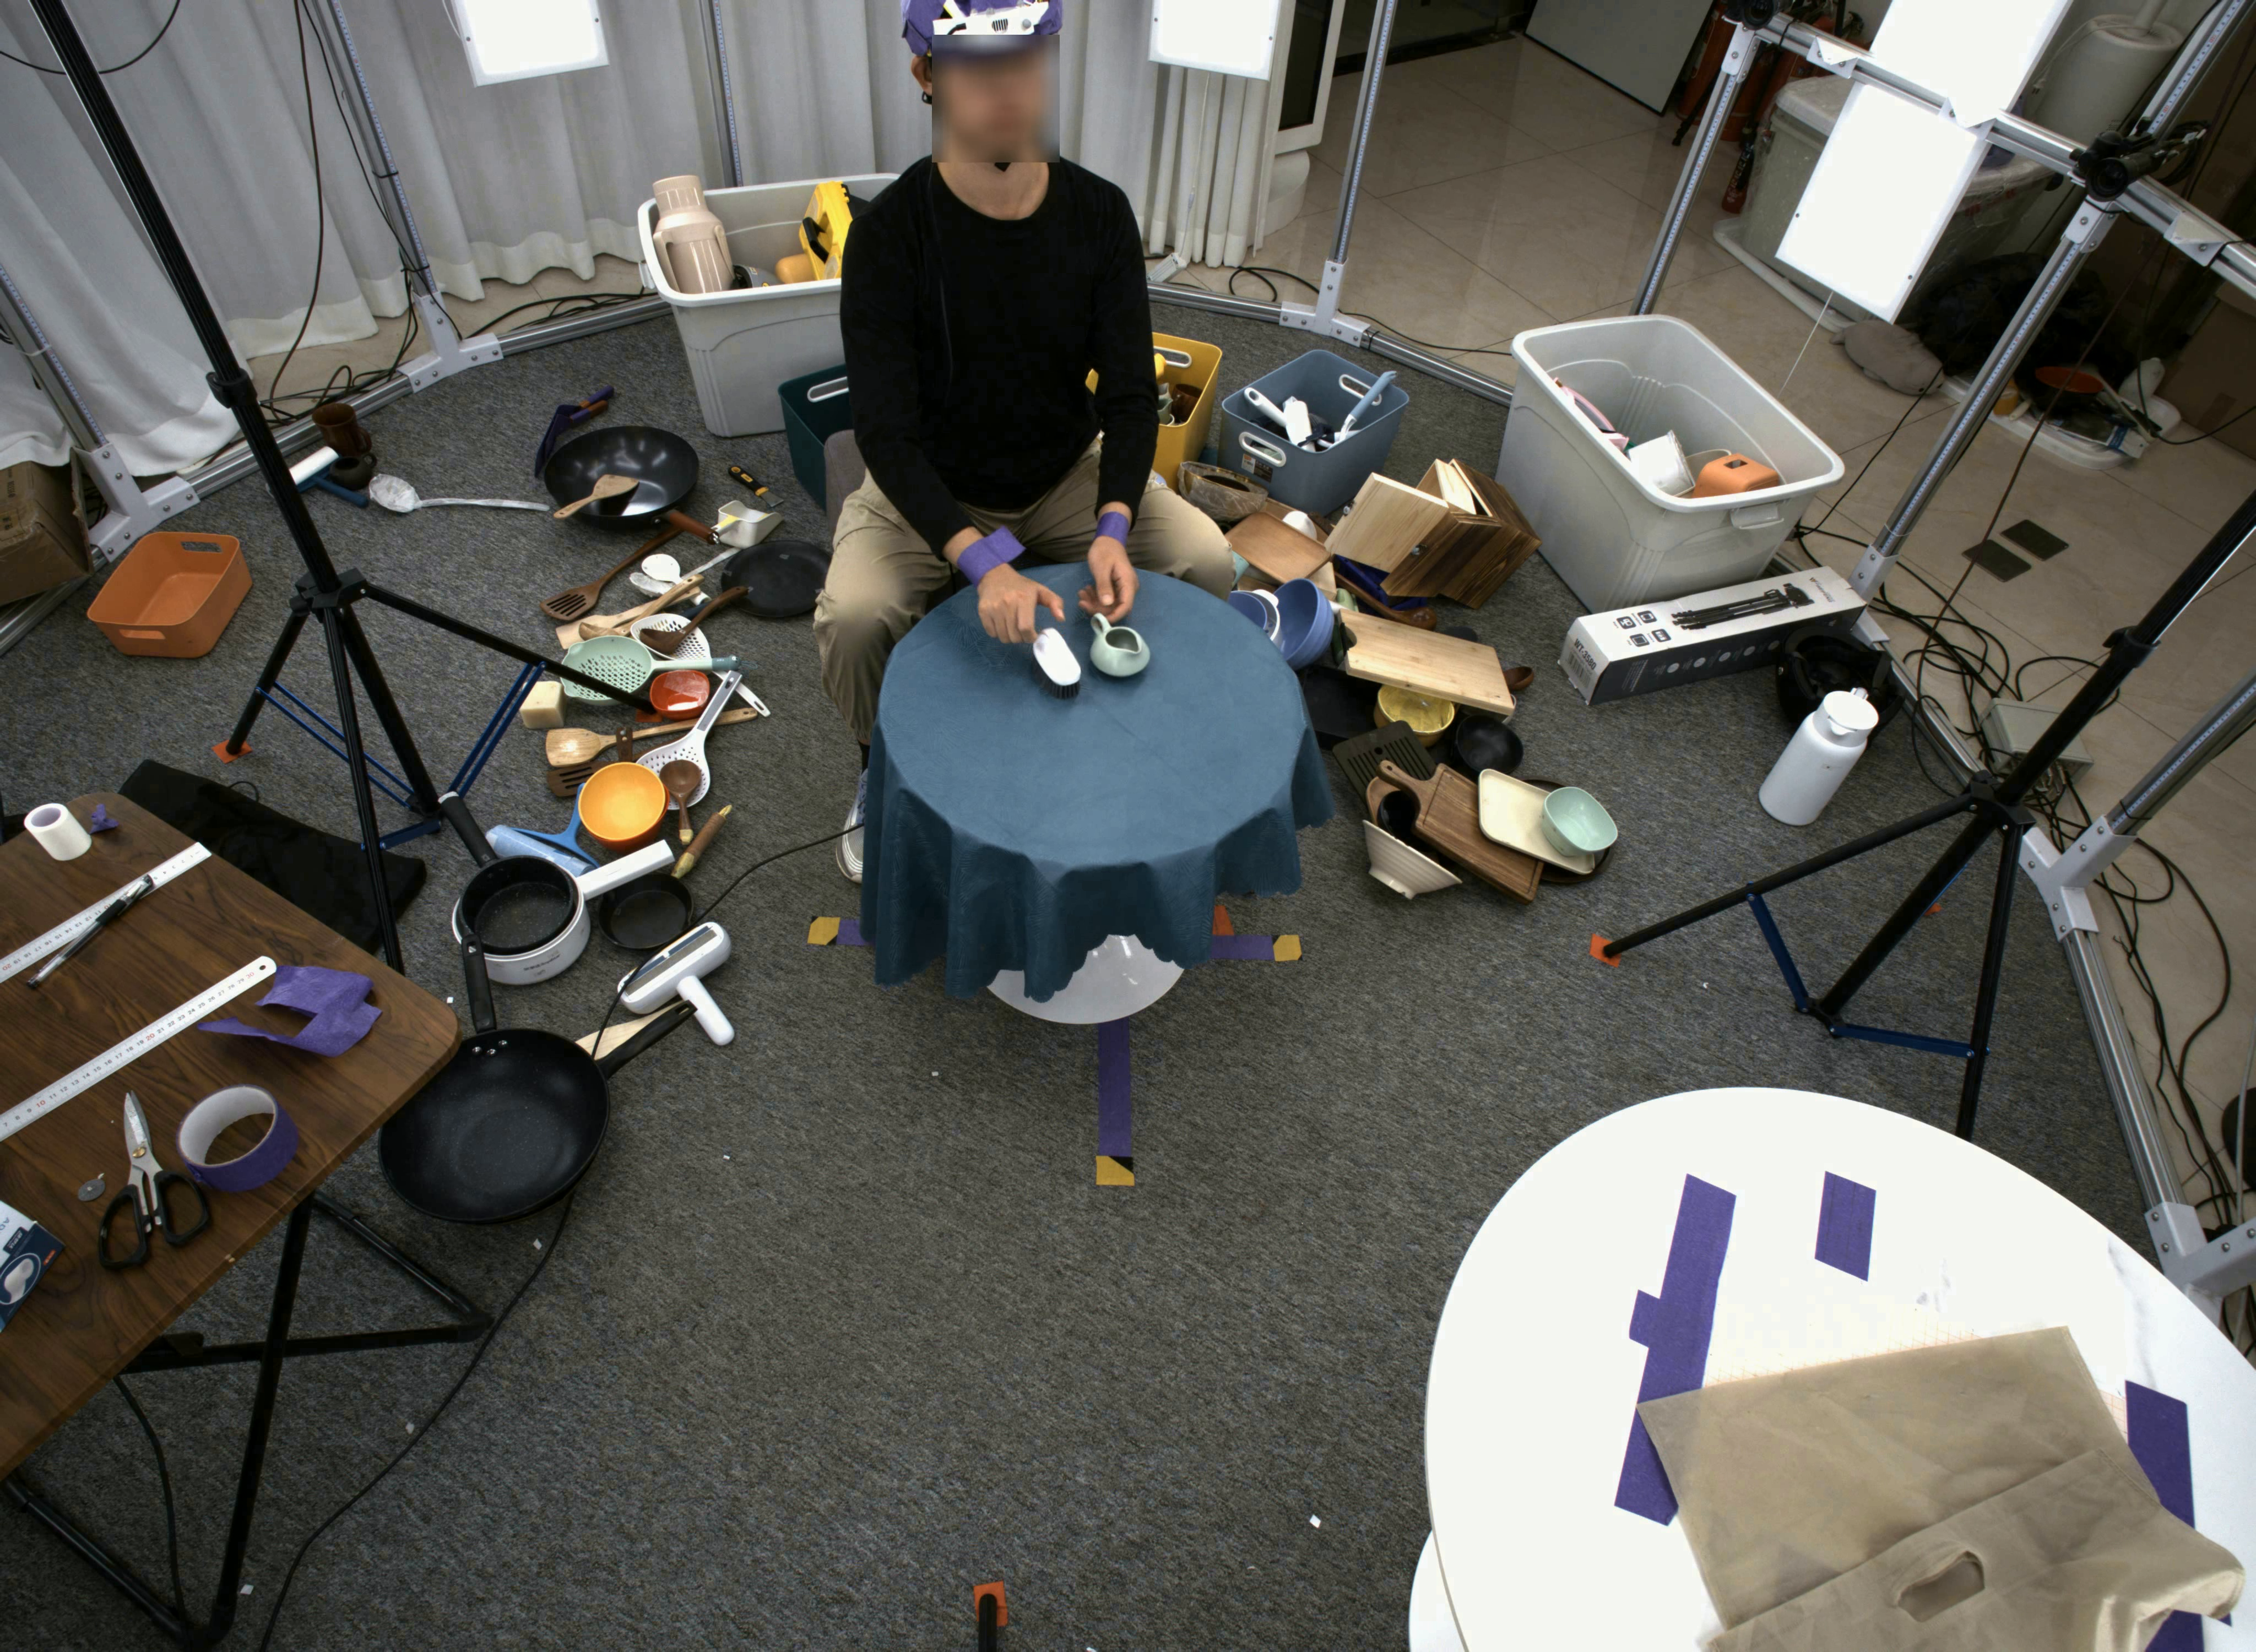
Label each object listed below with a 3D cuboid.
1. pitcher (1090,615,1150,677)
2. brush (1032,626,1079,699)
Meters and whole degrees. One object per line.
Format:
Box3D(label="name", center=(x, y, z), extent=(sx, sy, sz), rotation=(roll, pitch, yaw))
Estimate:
Box3D(label="pitcher", center=(-0.019, -0.260, 1.855), extent=(0.086, 0.059, 0.110), rotation=(-31, 55, -28))
Box3D(label="brush", center=(-0.102, -0.239, 1.818), extent=(0.050, 0.071, 0.101), rotation=(-16, 54, -20))
